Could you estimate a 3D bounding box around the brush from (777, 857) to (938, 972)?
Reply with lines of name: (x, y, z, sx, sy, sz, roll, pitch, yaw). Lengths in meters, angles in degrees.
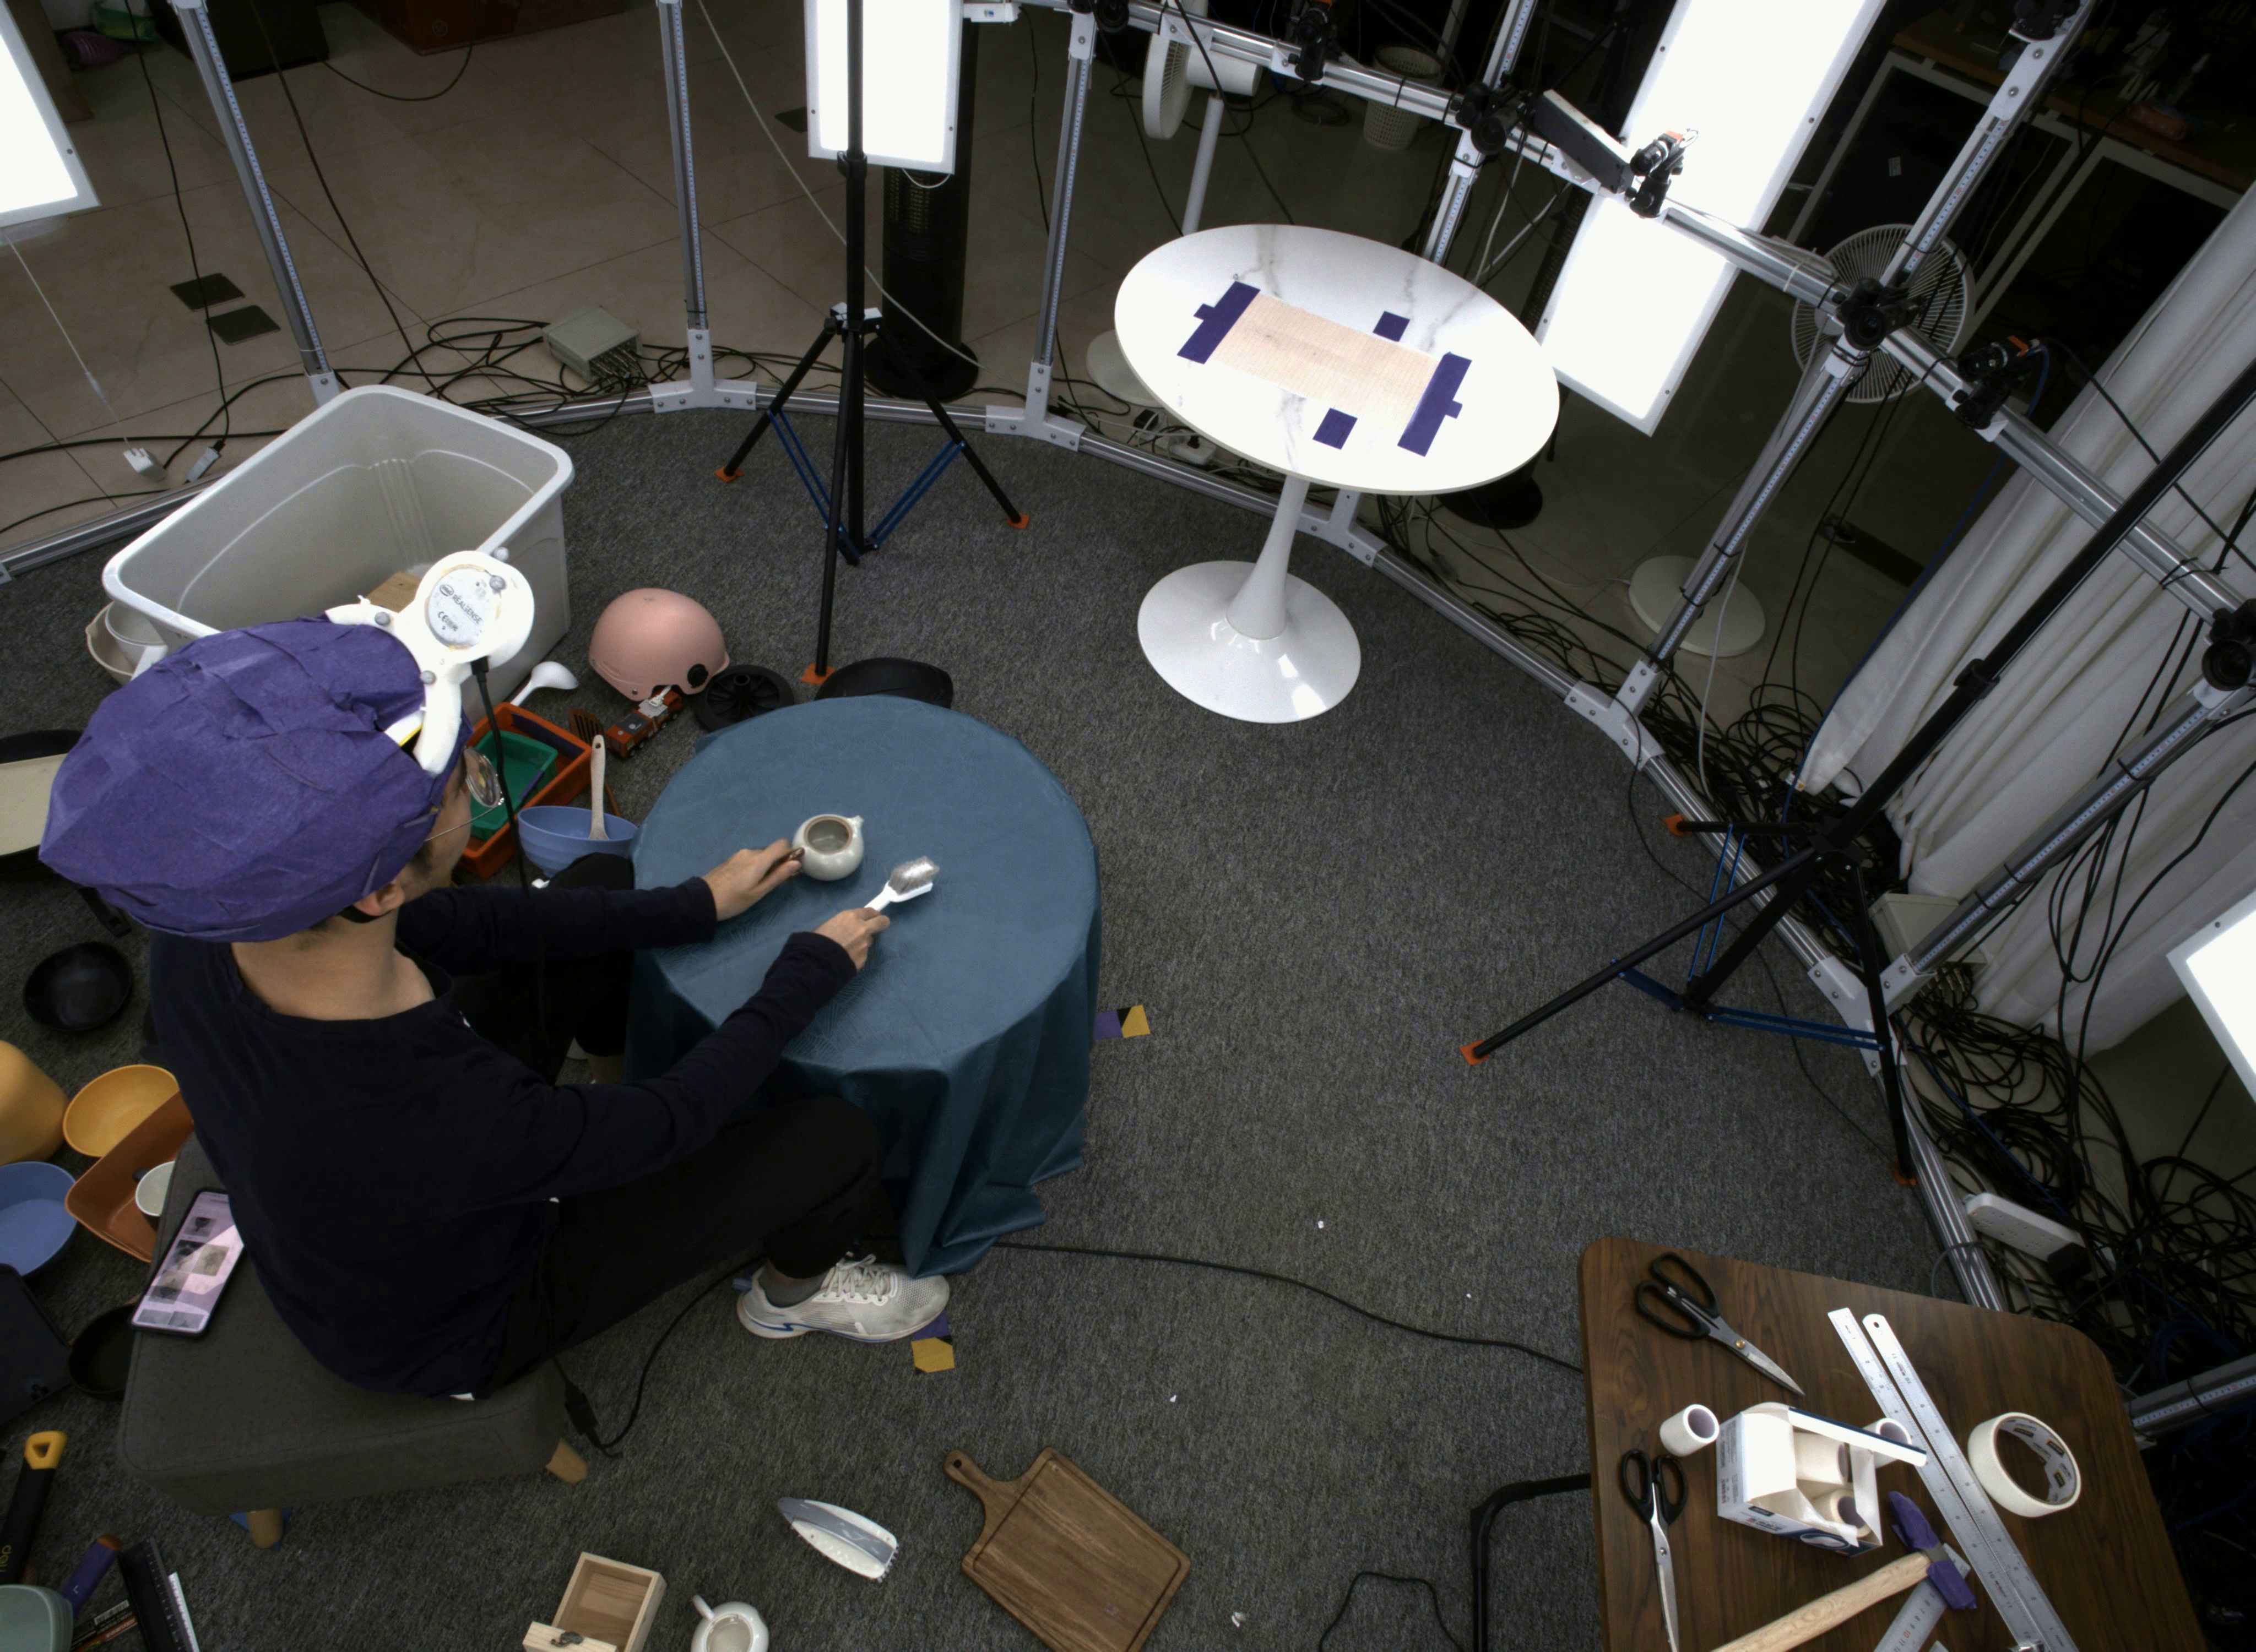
brush: (-0.336, 0.104, 1.622, 0.033, 0.051, 0.244, 41, 49, 20)

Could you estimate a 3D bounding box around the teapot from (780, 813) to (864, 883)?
teapot: (-0.395, 0.031, 1.674, 0.128, 0.060, 0.090, -35, 71, -32)
